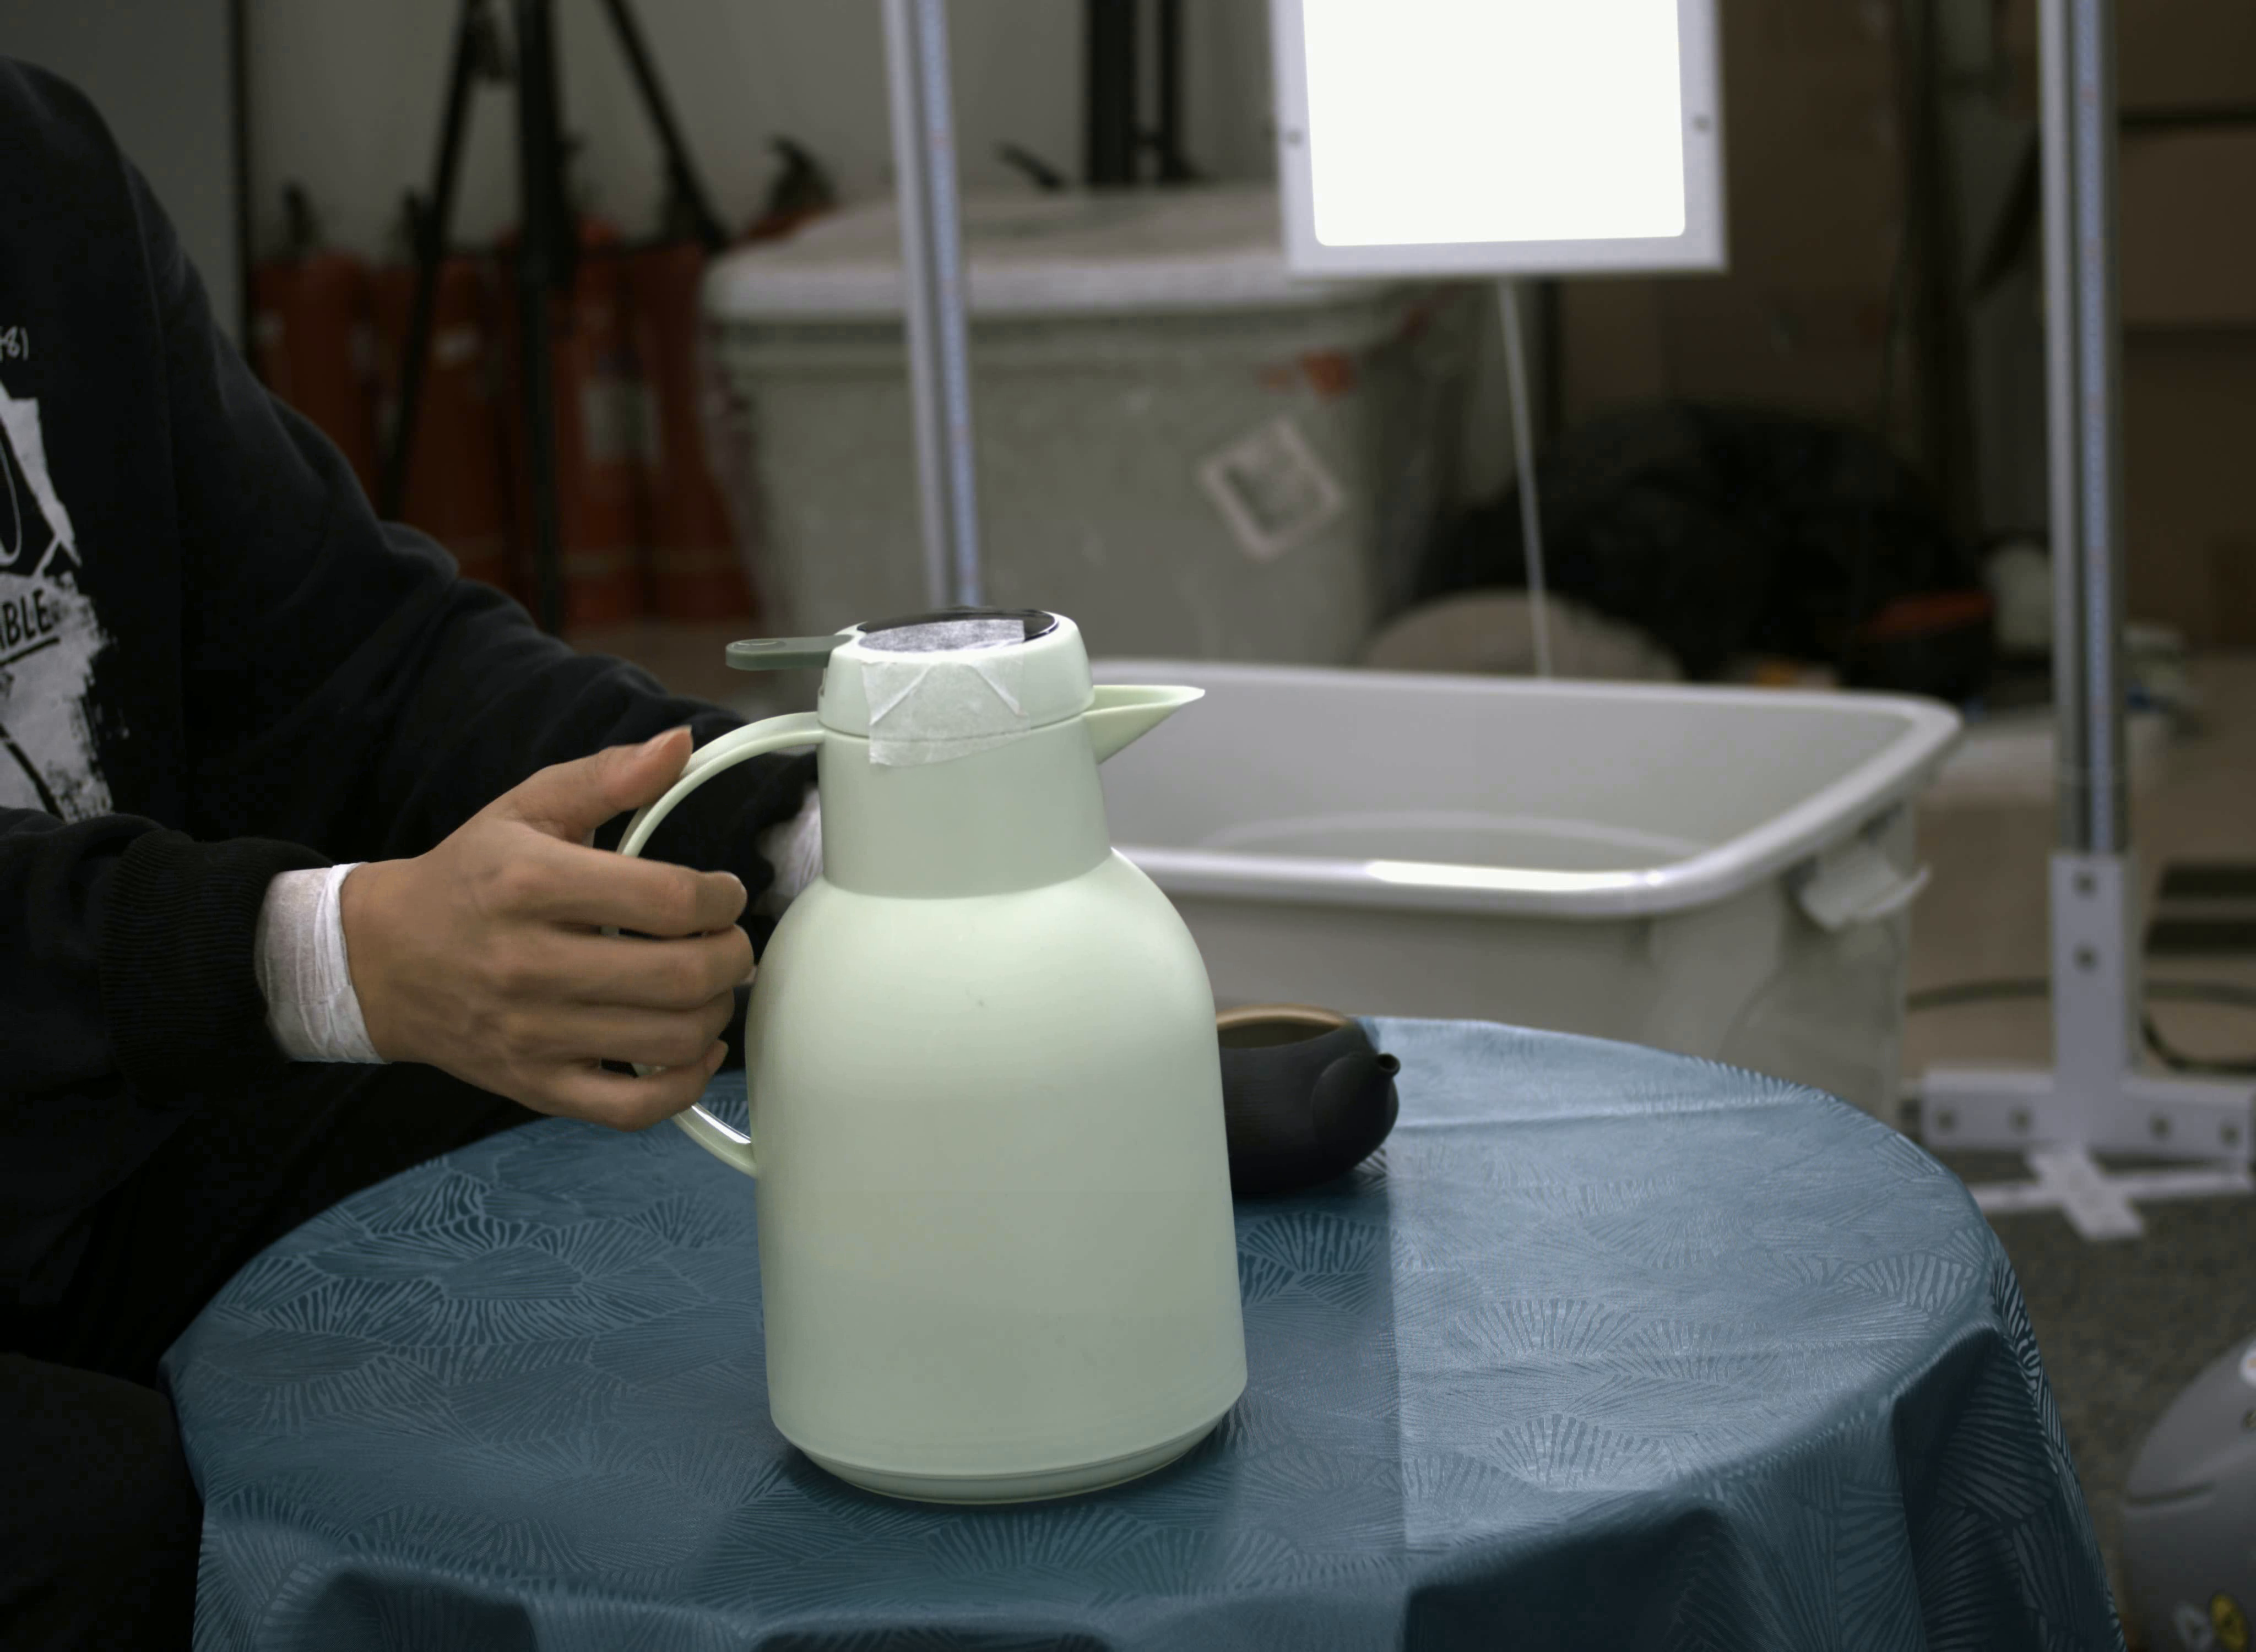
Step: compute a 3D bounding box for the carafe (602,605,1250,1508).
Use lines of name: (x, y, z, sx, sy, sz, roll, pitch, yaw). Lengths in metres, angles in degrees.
carafe: (-0.058, 0.066, 1.645, 0.186, 0.257, 0.144, -8, 15, -1)

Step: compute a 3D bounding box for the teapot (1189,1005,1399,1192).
teapot: (0.048, 0.094, 1.902, 0.088, 0.053, 0.136, -14, 17, -38)
